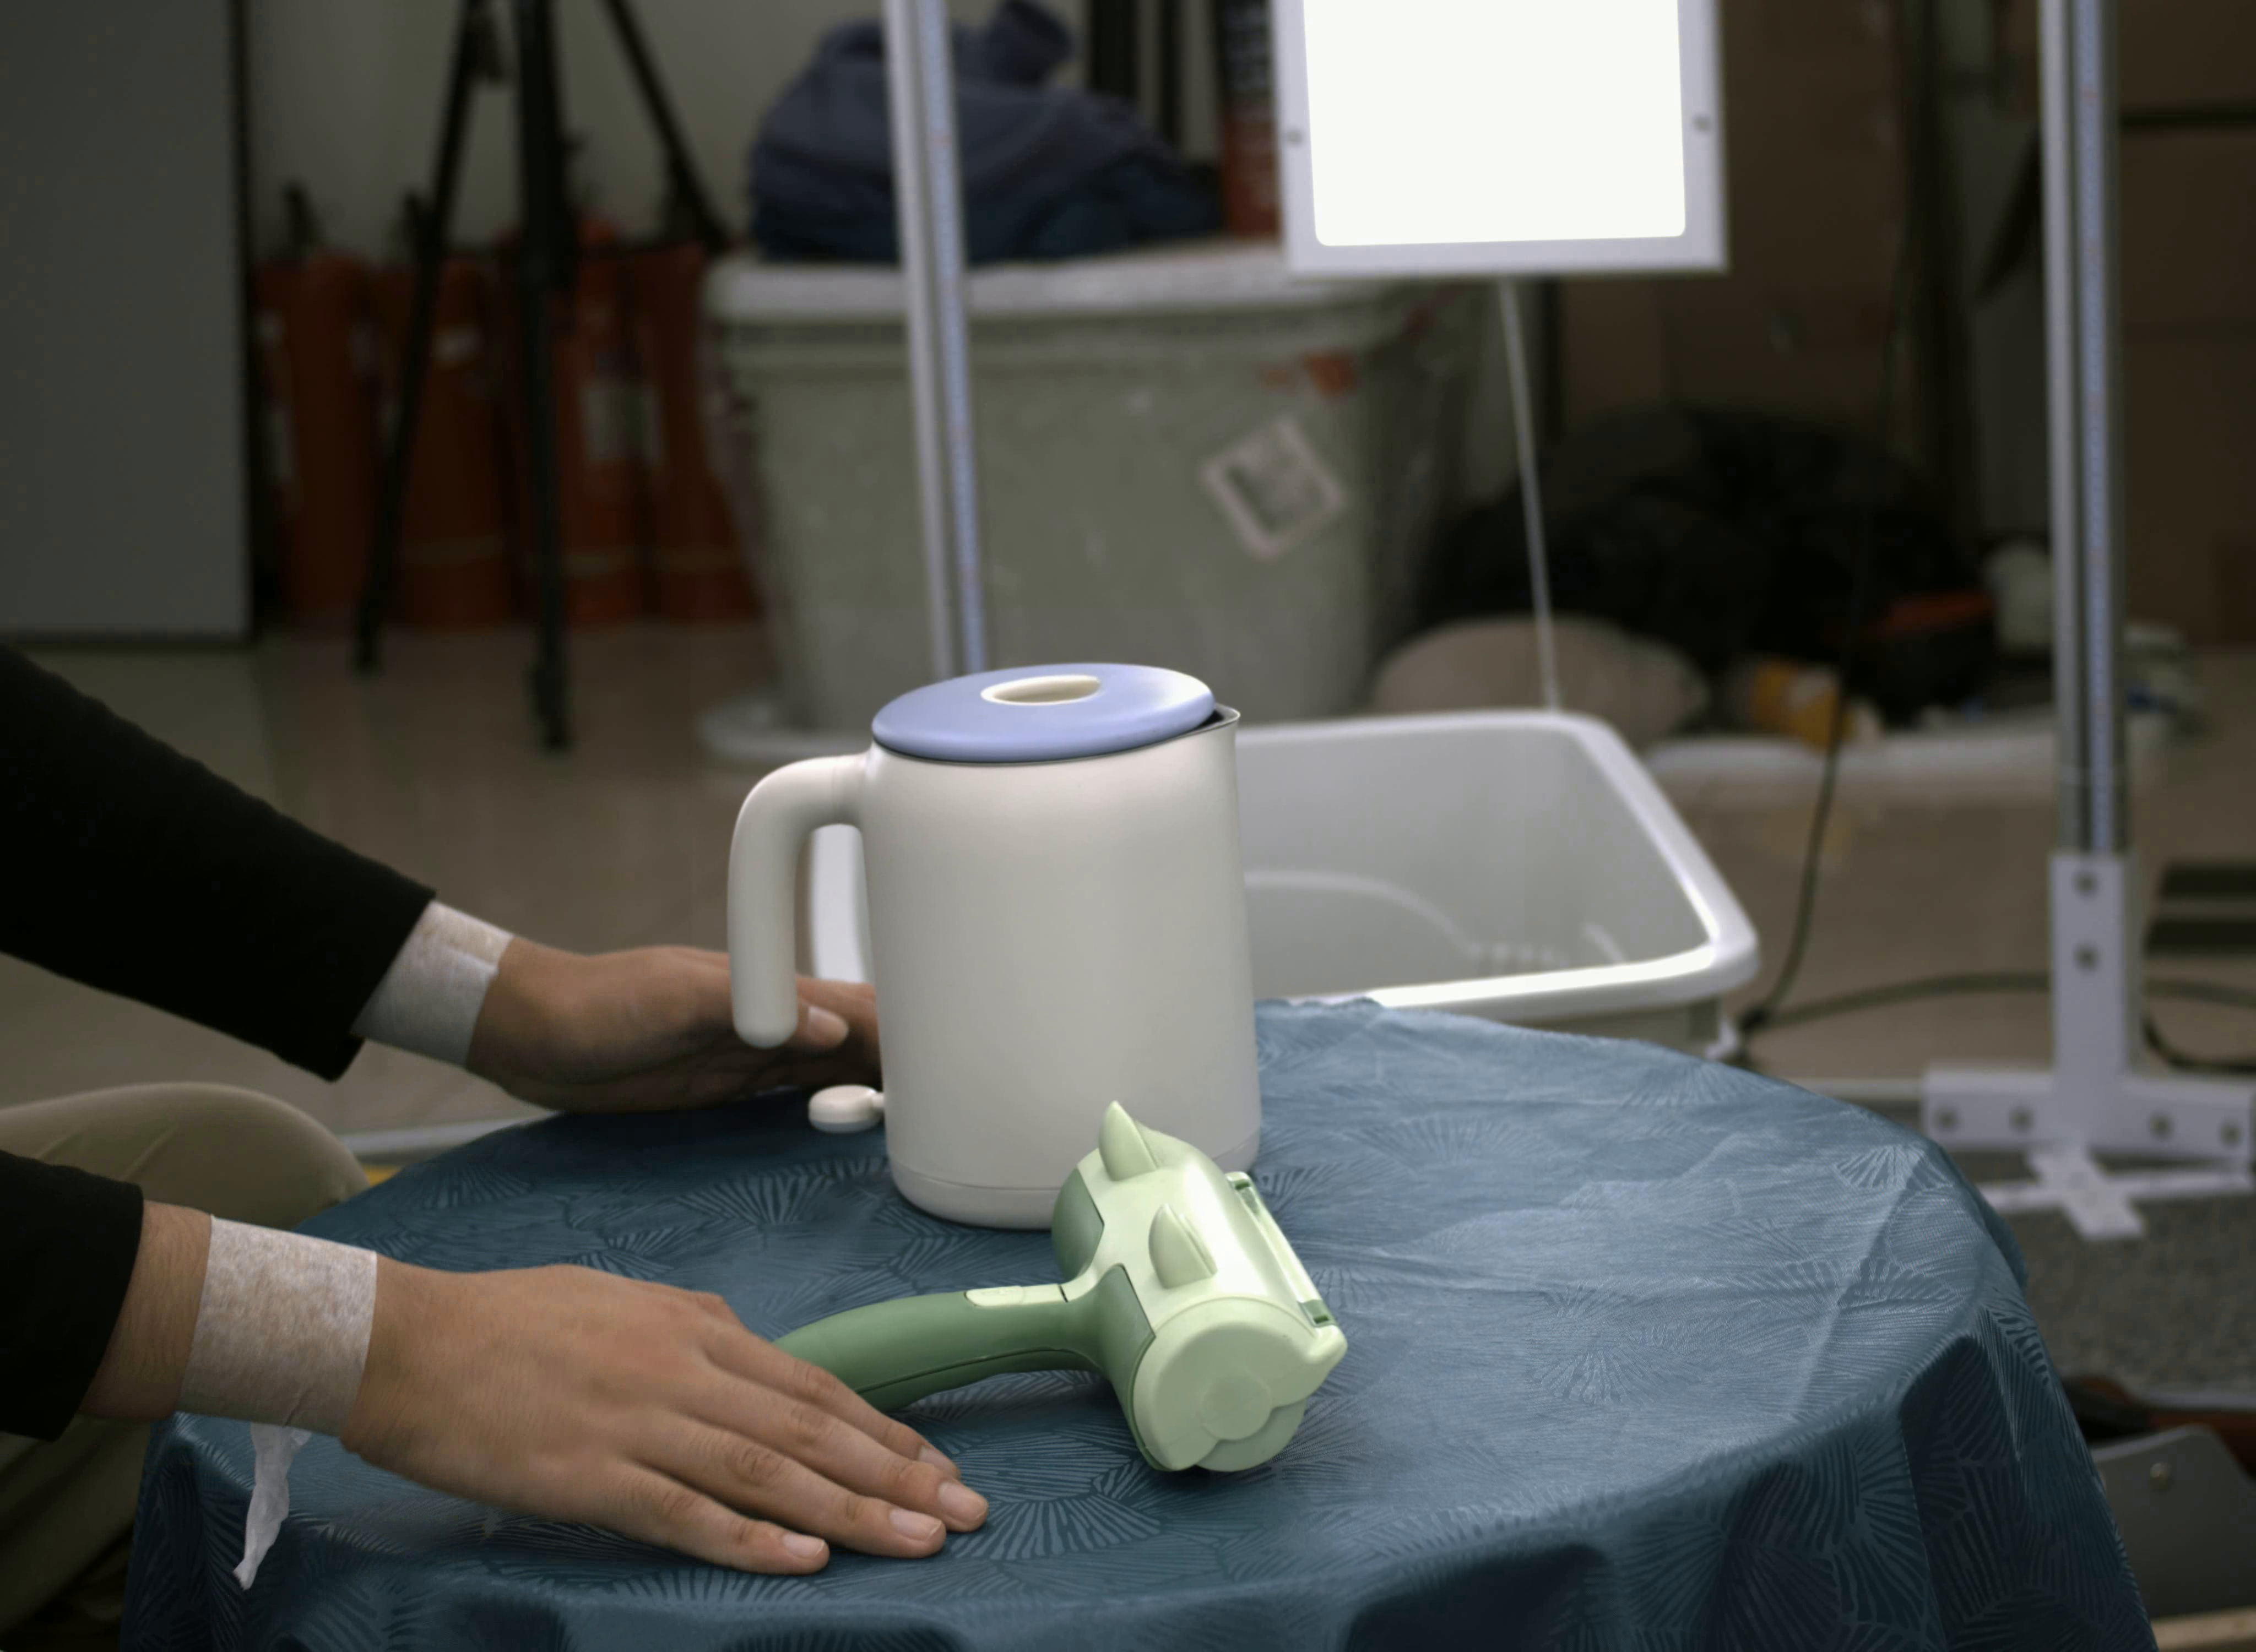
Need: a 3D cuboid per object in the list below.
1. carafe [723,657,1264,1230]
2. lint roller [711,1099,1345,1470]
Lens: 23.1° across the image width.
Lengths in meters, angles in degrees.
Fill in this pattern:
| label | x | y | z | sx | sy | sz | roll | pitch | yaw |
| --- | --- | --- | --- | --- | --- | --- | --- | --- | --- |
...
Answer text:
| label | x | y | z | sx | sy | sz | roll | pitch | yaw |
| --- | --- | --- | --- | --- | --- | --- | --- | --- | --- |
| carafe | -0.047 | 0.041 | 1.903 | 0.192 | 0.183 | 0.131 | -4 | 13 | 13 |
| lint roller | -0.038 | 0.141 | 1.691 | 0.182 | 0.082 | 0.199 | -4 | 12 | -6 |
